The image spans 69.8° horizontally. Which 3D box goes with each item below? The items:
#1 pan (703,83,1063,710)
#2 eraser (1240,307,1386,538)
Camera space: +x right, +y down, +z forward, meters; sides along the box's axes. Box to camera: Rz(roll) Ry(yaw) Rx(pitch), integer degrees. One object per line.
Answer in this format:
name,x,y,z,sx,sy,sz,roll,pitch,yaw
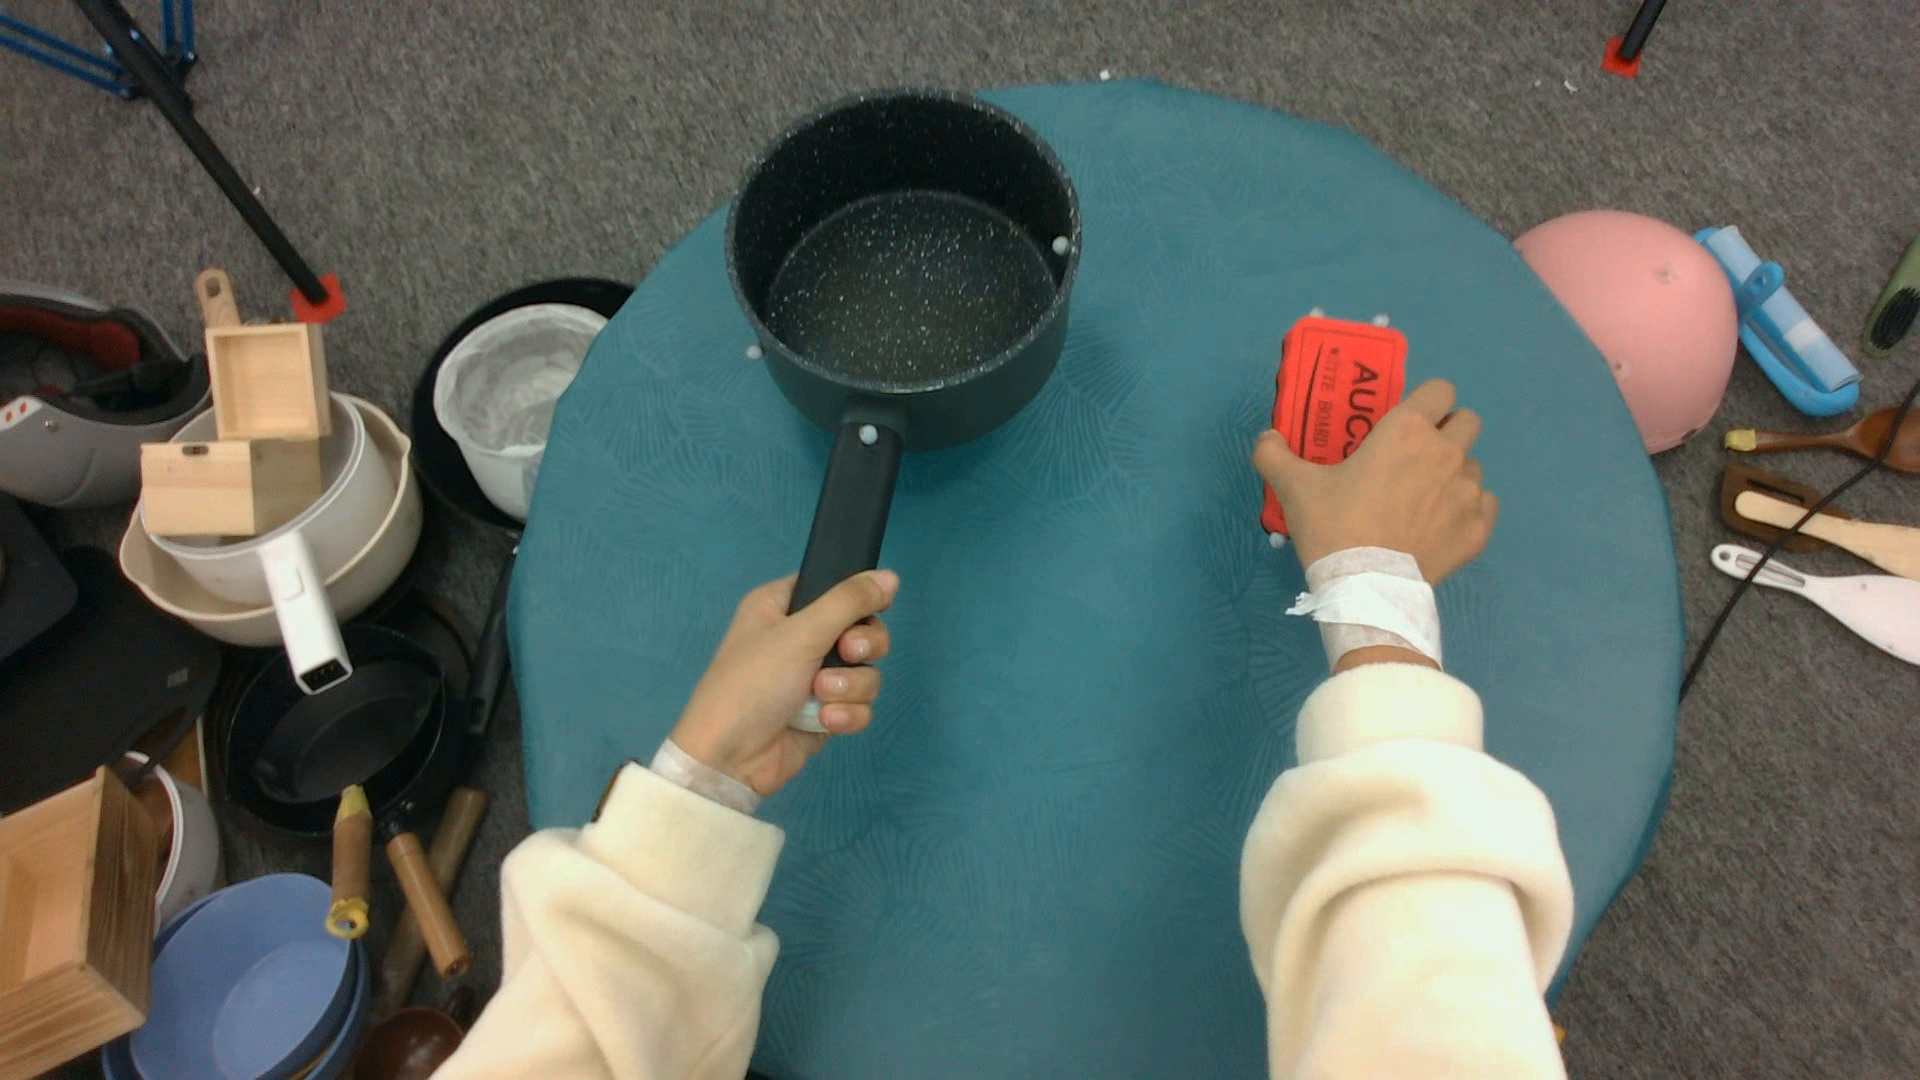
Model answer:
pan,-0.050,-0.067,0.657,0.172,0.086,0.330,10,65,5
eraser,0.174,-0.058,0.679,0.059,0.023,0.108,9,81,1
